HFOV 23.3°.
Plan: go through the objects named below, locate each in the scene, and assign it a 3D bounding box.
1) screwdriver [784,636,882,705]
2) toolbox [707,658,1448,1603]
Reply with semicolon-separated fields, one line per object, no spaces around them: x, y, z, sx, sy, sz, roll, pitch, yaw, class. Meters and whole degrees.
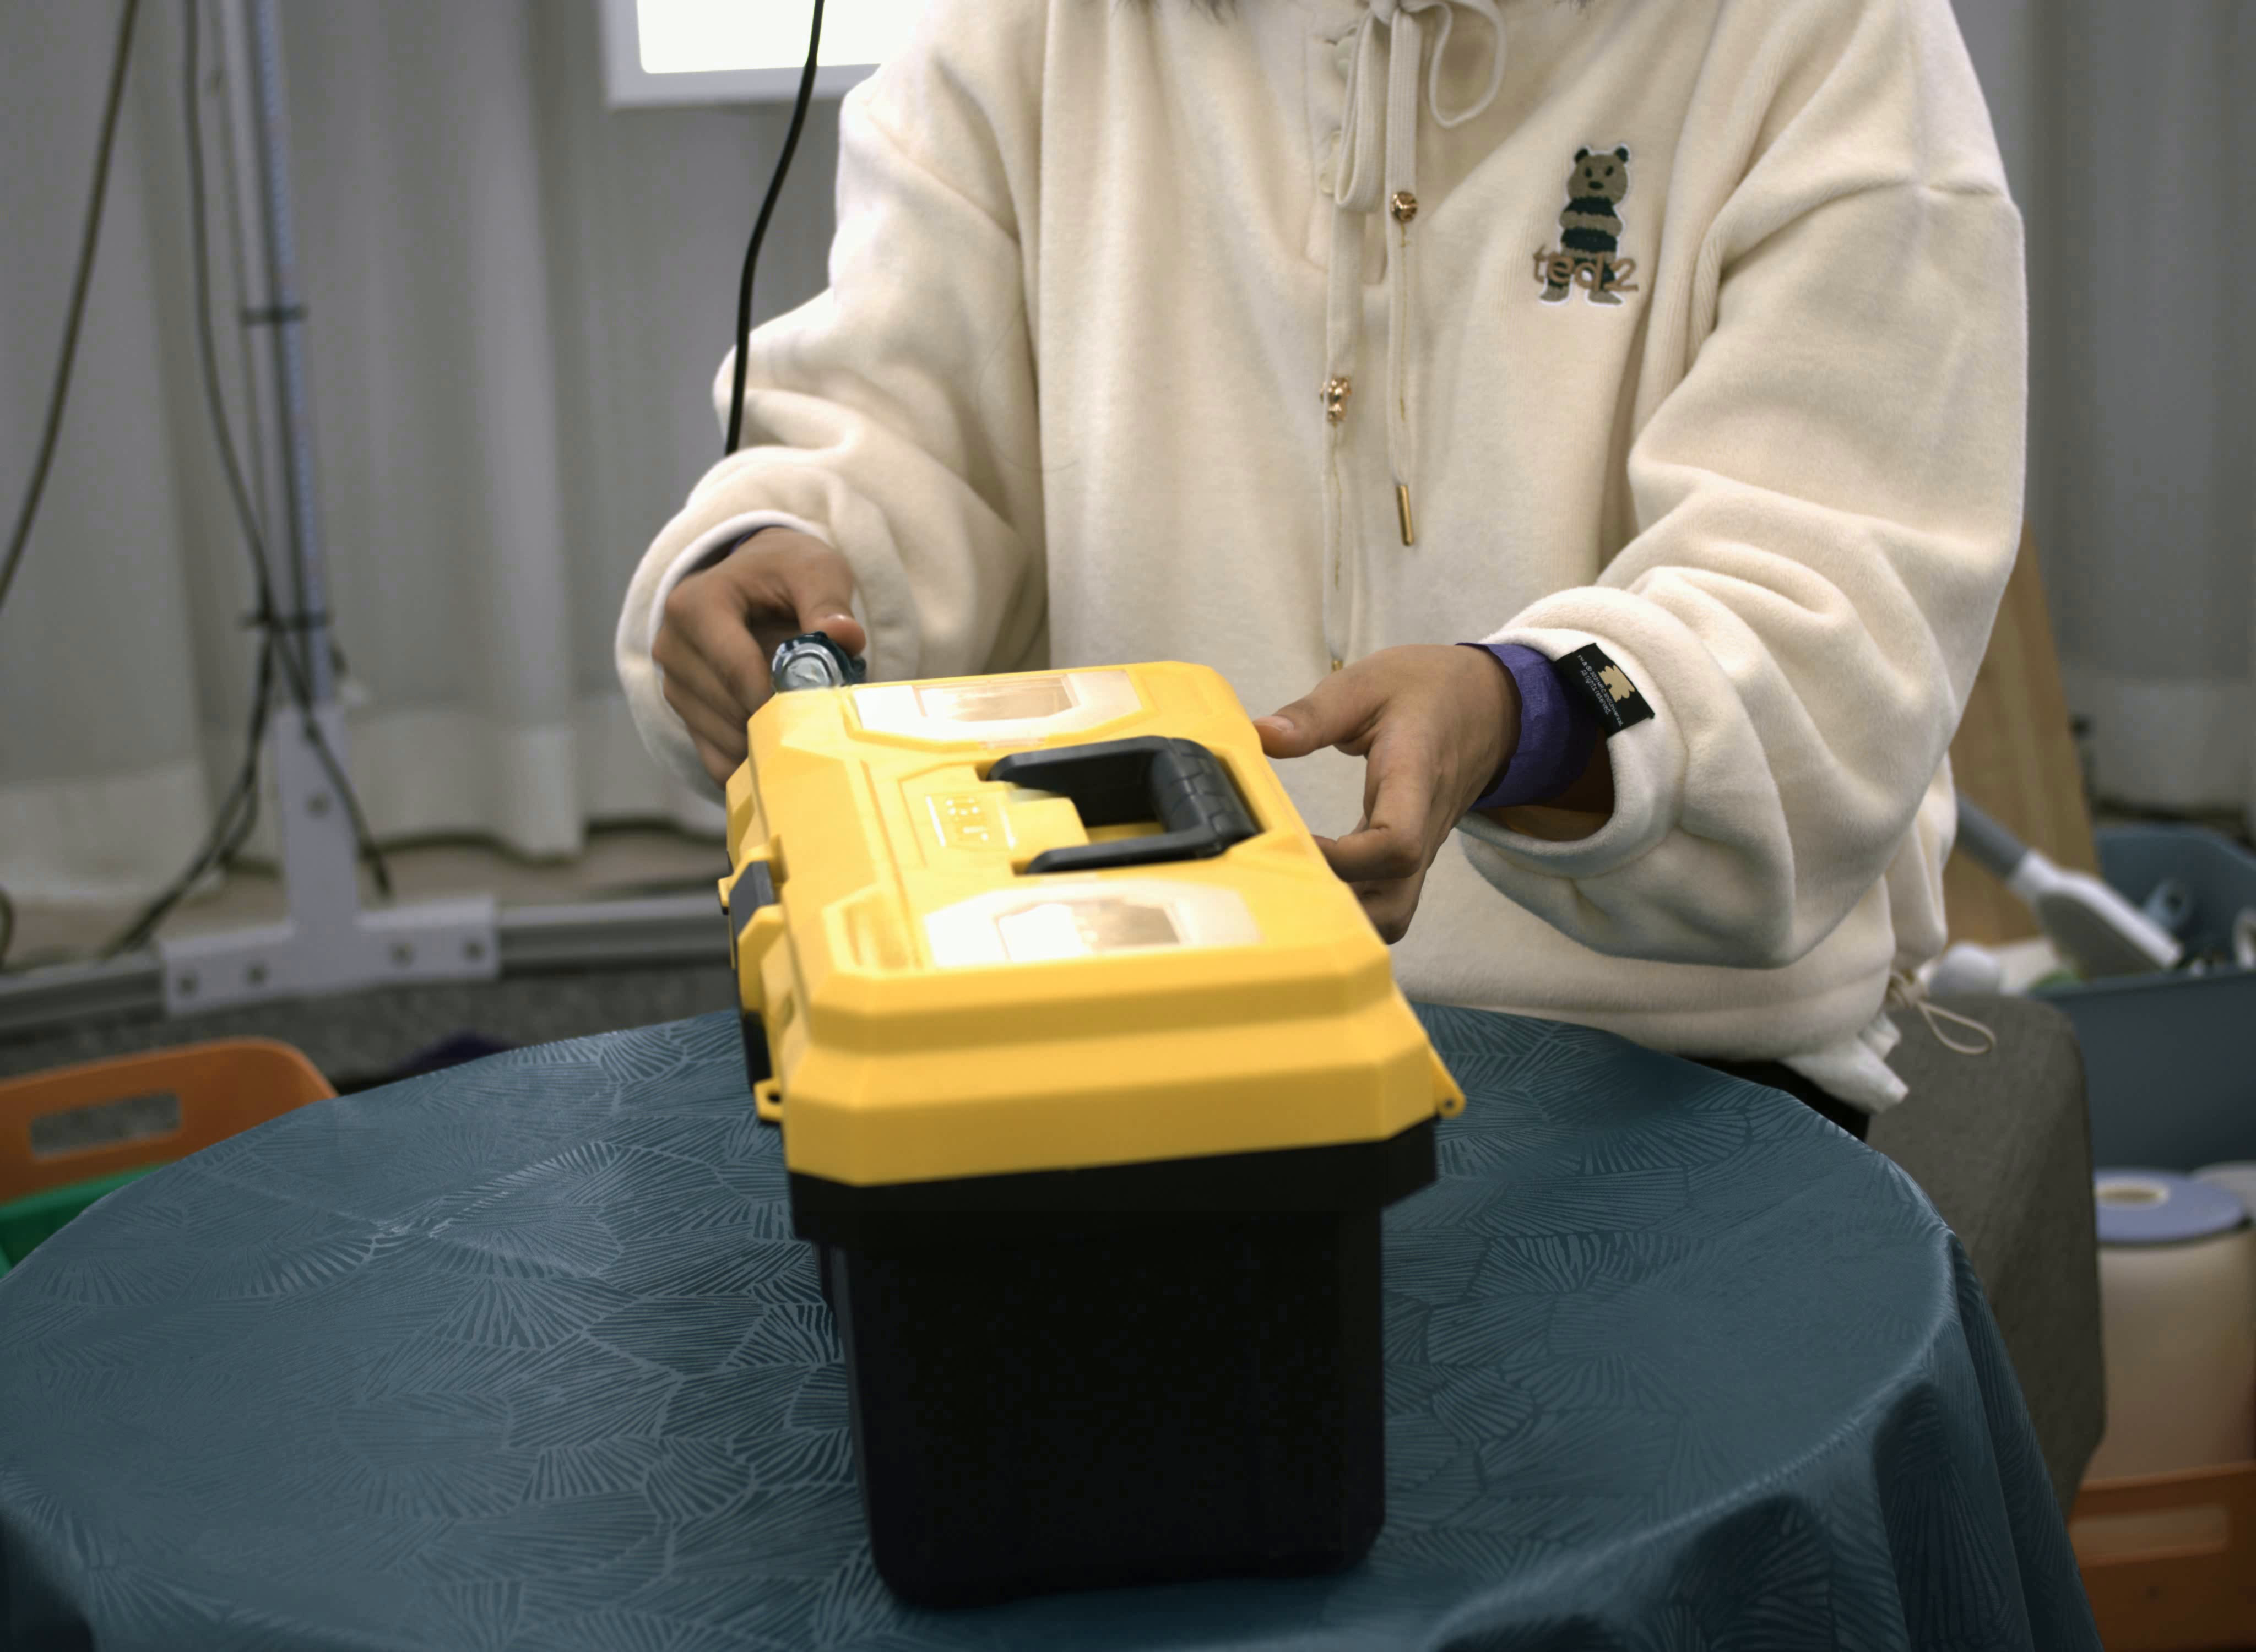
-0.098;-0.047;1.775;0.033;0.034;0.190;-3;1;0;screwdriver
-0.020;0.075;1.531;0.180;0.172;0.354;-4;15;-5;toolbox
